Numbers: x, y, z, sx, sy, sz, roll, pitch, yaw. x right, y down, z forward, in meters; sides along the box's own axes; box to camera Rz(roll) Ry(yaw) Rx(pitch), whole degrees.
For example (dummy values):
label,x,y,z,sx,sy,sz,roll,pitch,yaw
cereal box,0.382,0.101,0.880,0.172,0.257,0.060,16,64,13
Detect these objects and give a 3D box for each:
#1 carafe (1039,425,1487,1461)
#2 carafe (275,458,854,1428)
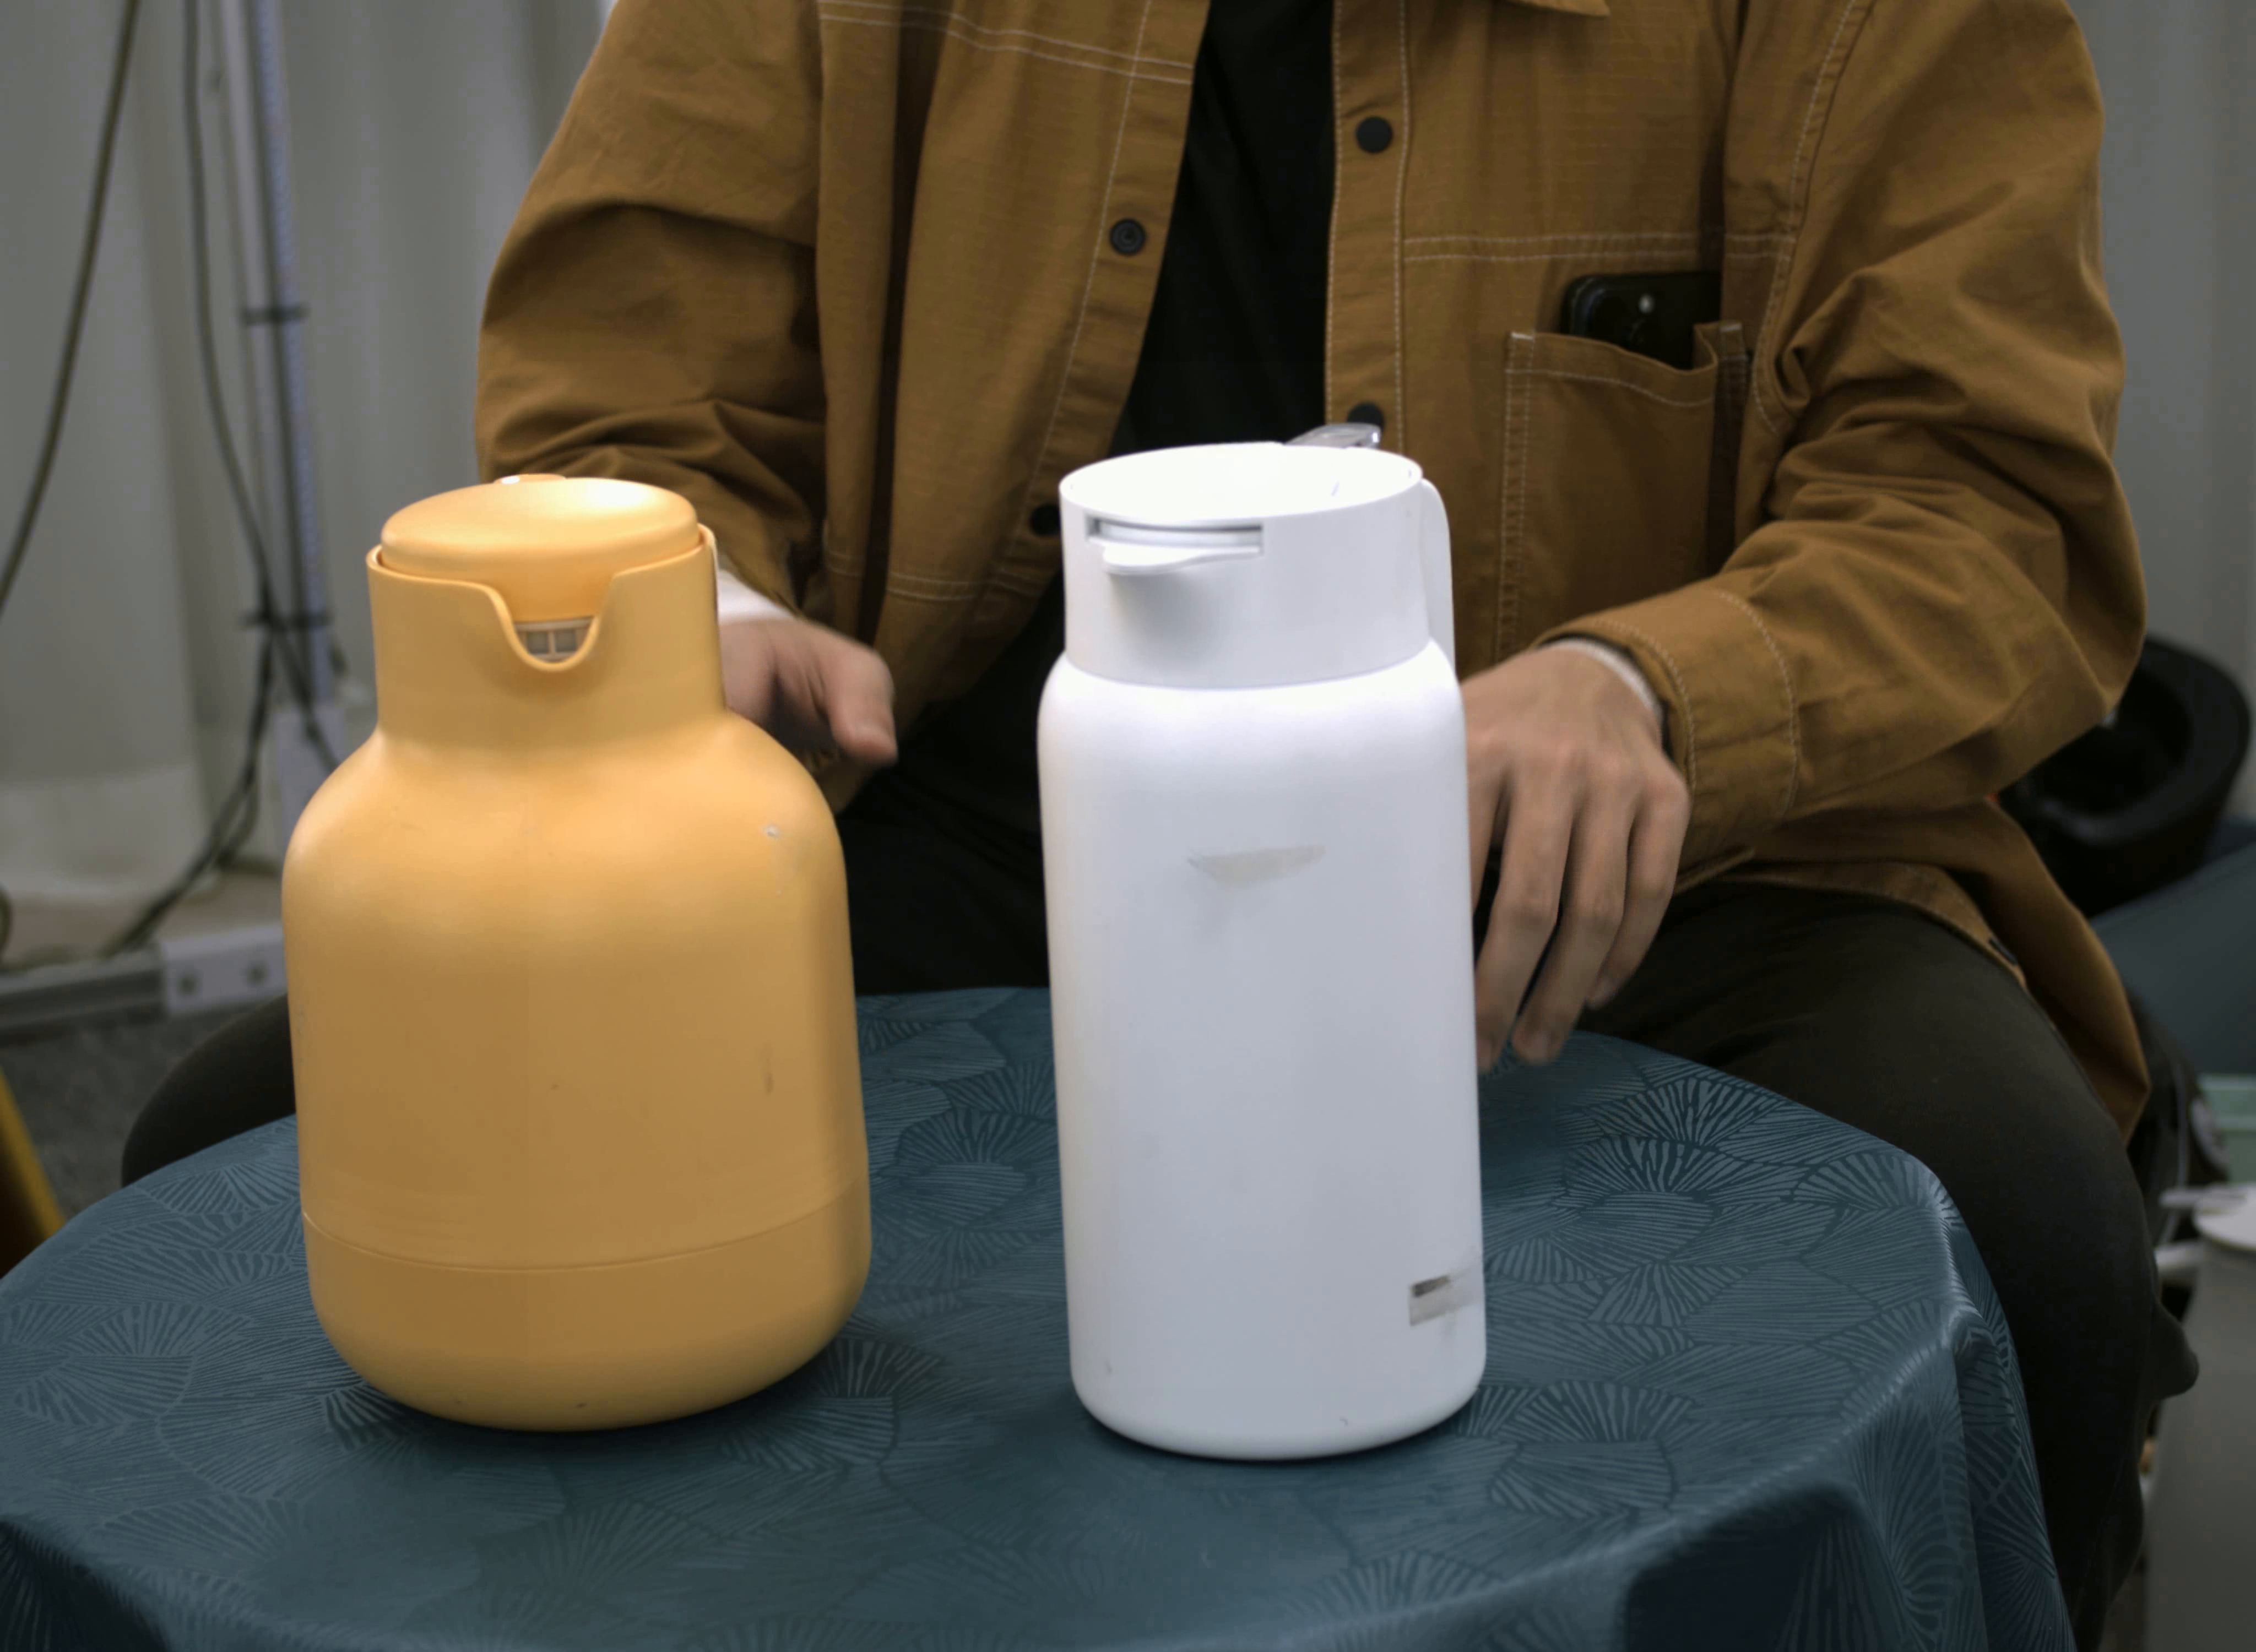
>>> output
label,x,y,z,sx,sy,sz,roll,pitch,yaw
carafe,0.043,0.028,1.518,0.124,0.268,0.173,2,14,27
carafe,-0.161,0.025,1.575,0.163,0.259,0.204,-1,15,-6
